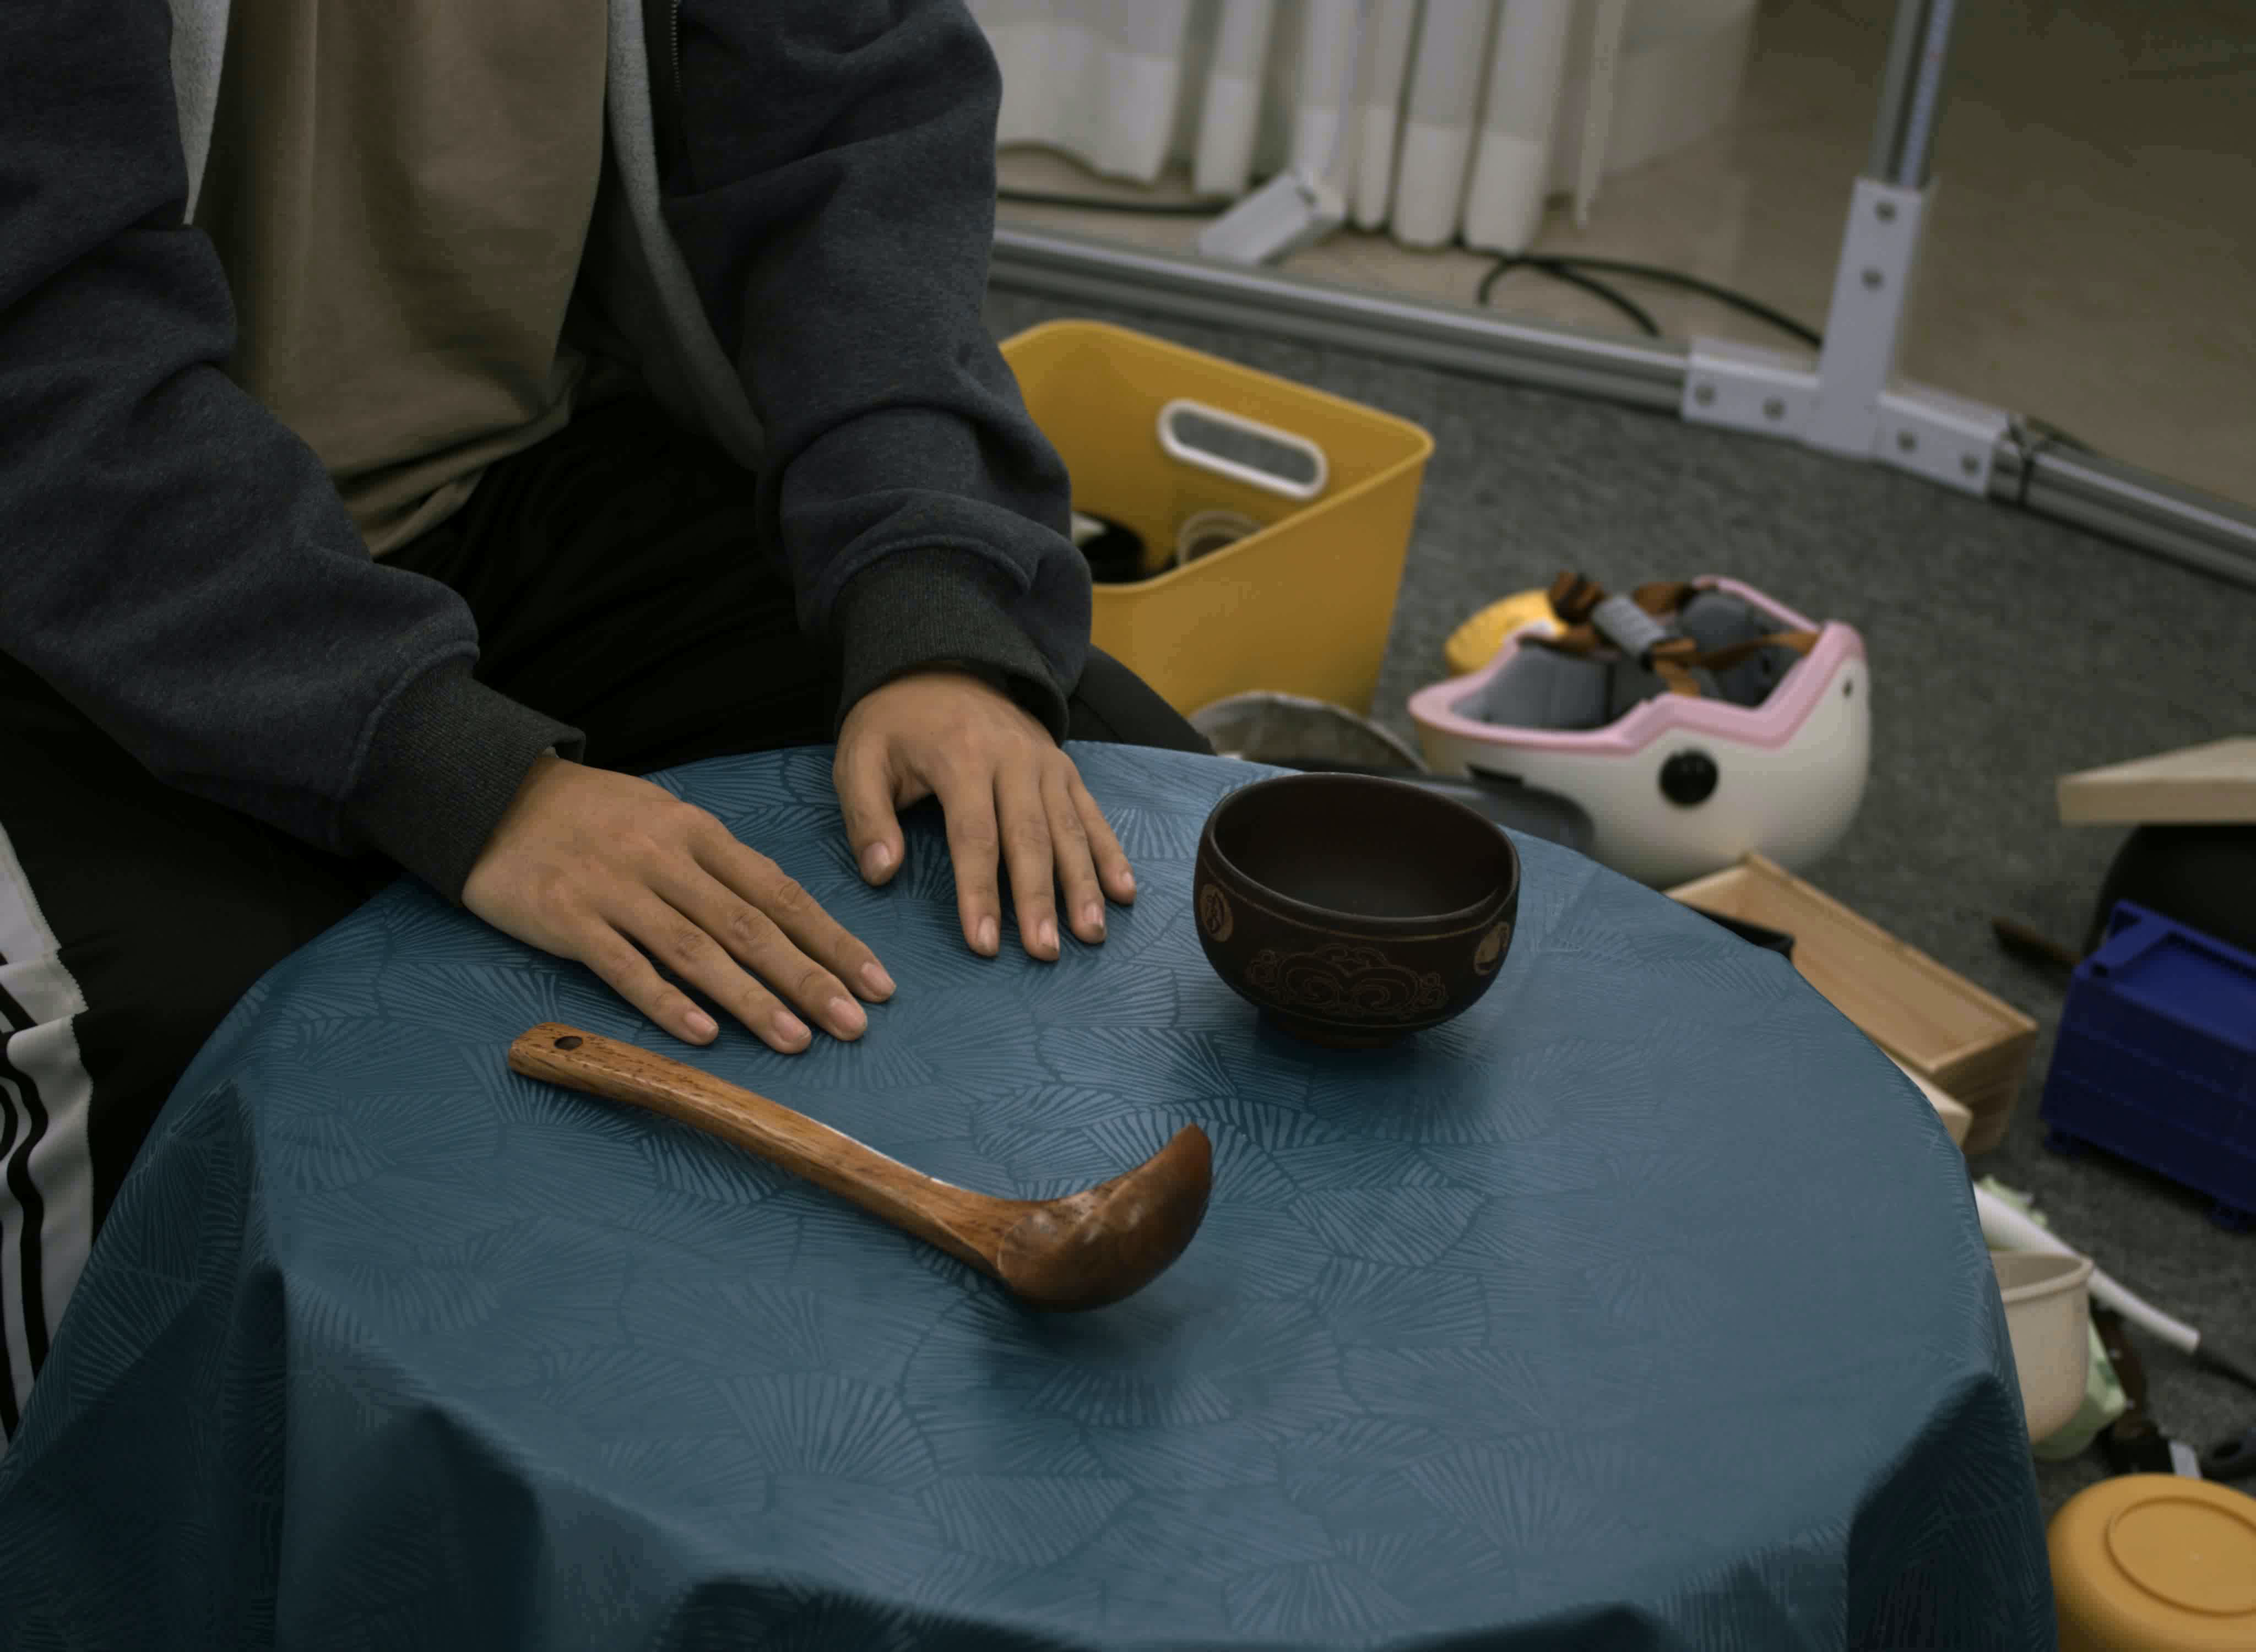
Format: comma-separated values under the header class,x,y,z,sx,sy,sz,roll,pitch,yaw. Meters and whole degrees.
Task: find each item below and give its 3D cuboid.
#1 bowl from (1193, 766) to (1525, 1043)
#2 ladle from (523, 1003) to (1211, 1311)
class,x,y,z,sx,sy,sz,roll,pitch,yaw
bowl,0.081,0.035,1.913,0.117,0.069,0.119,5,27,-3
ladle,-0.094,0.090,1.760,0.275,0.076,0.082,23,36,28
